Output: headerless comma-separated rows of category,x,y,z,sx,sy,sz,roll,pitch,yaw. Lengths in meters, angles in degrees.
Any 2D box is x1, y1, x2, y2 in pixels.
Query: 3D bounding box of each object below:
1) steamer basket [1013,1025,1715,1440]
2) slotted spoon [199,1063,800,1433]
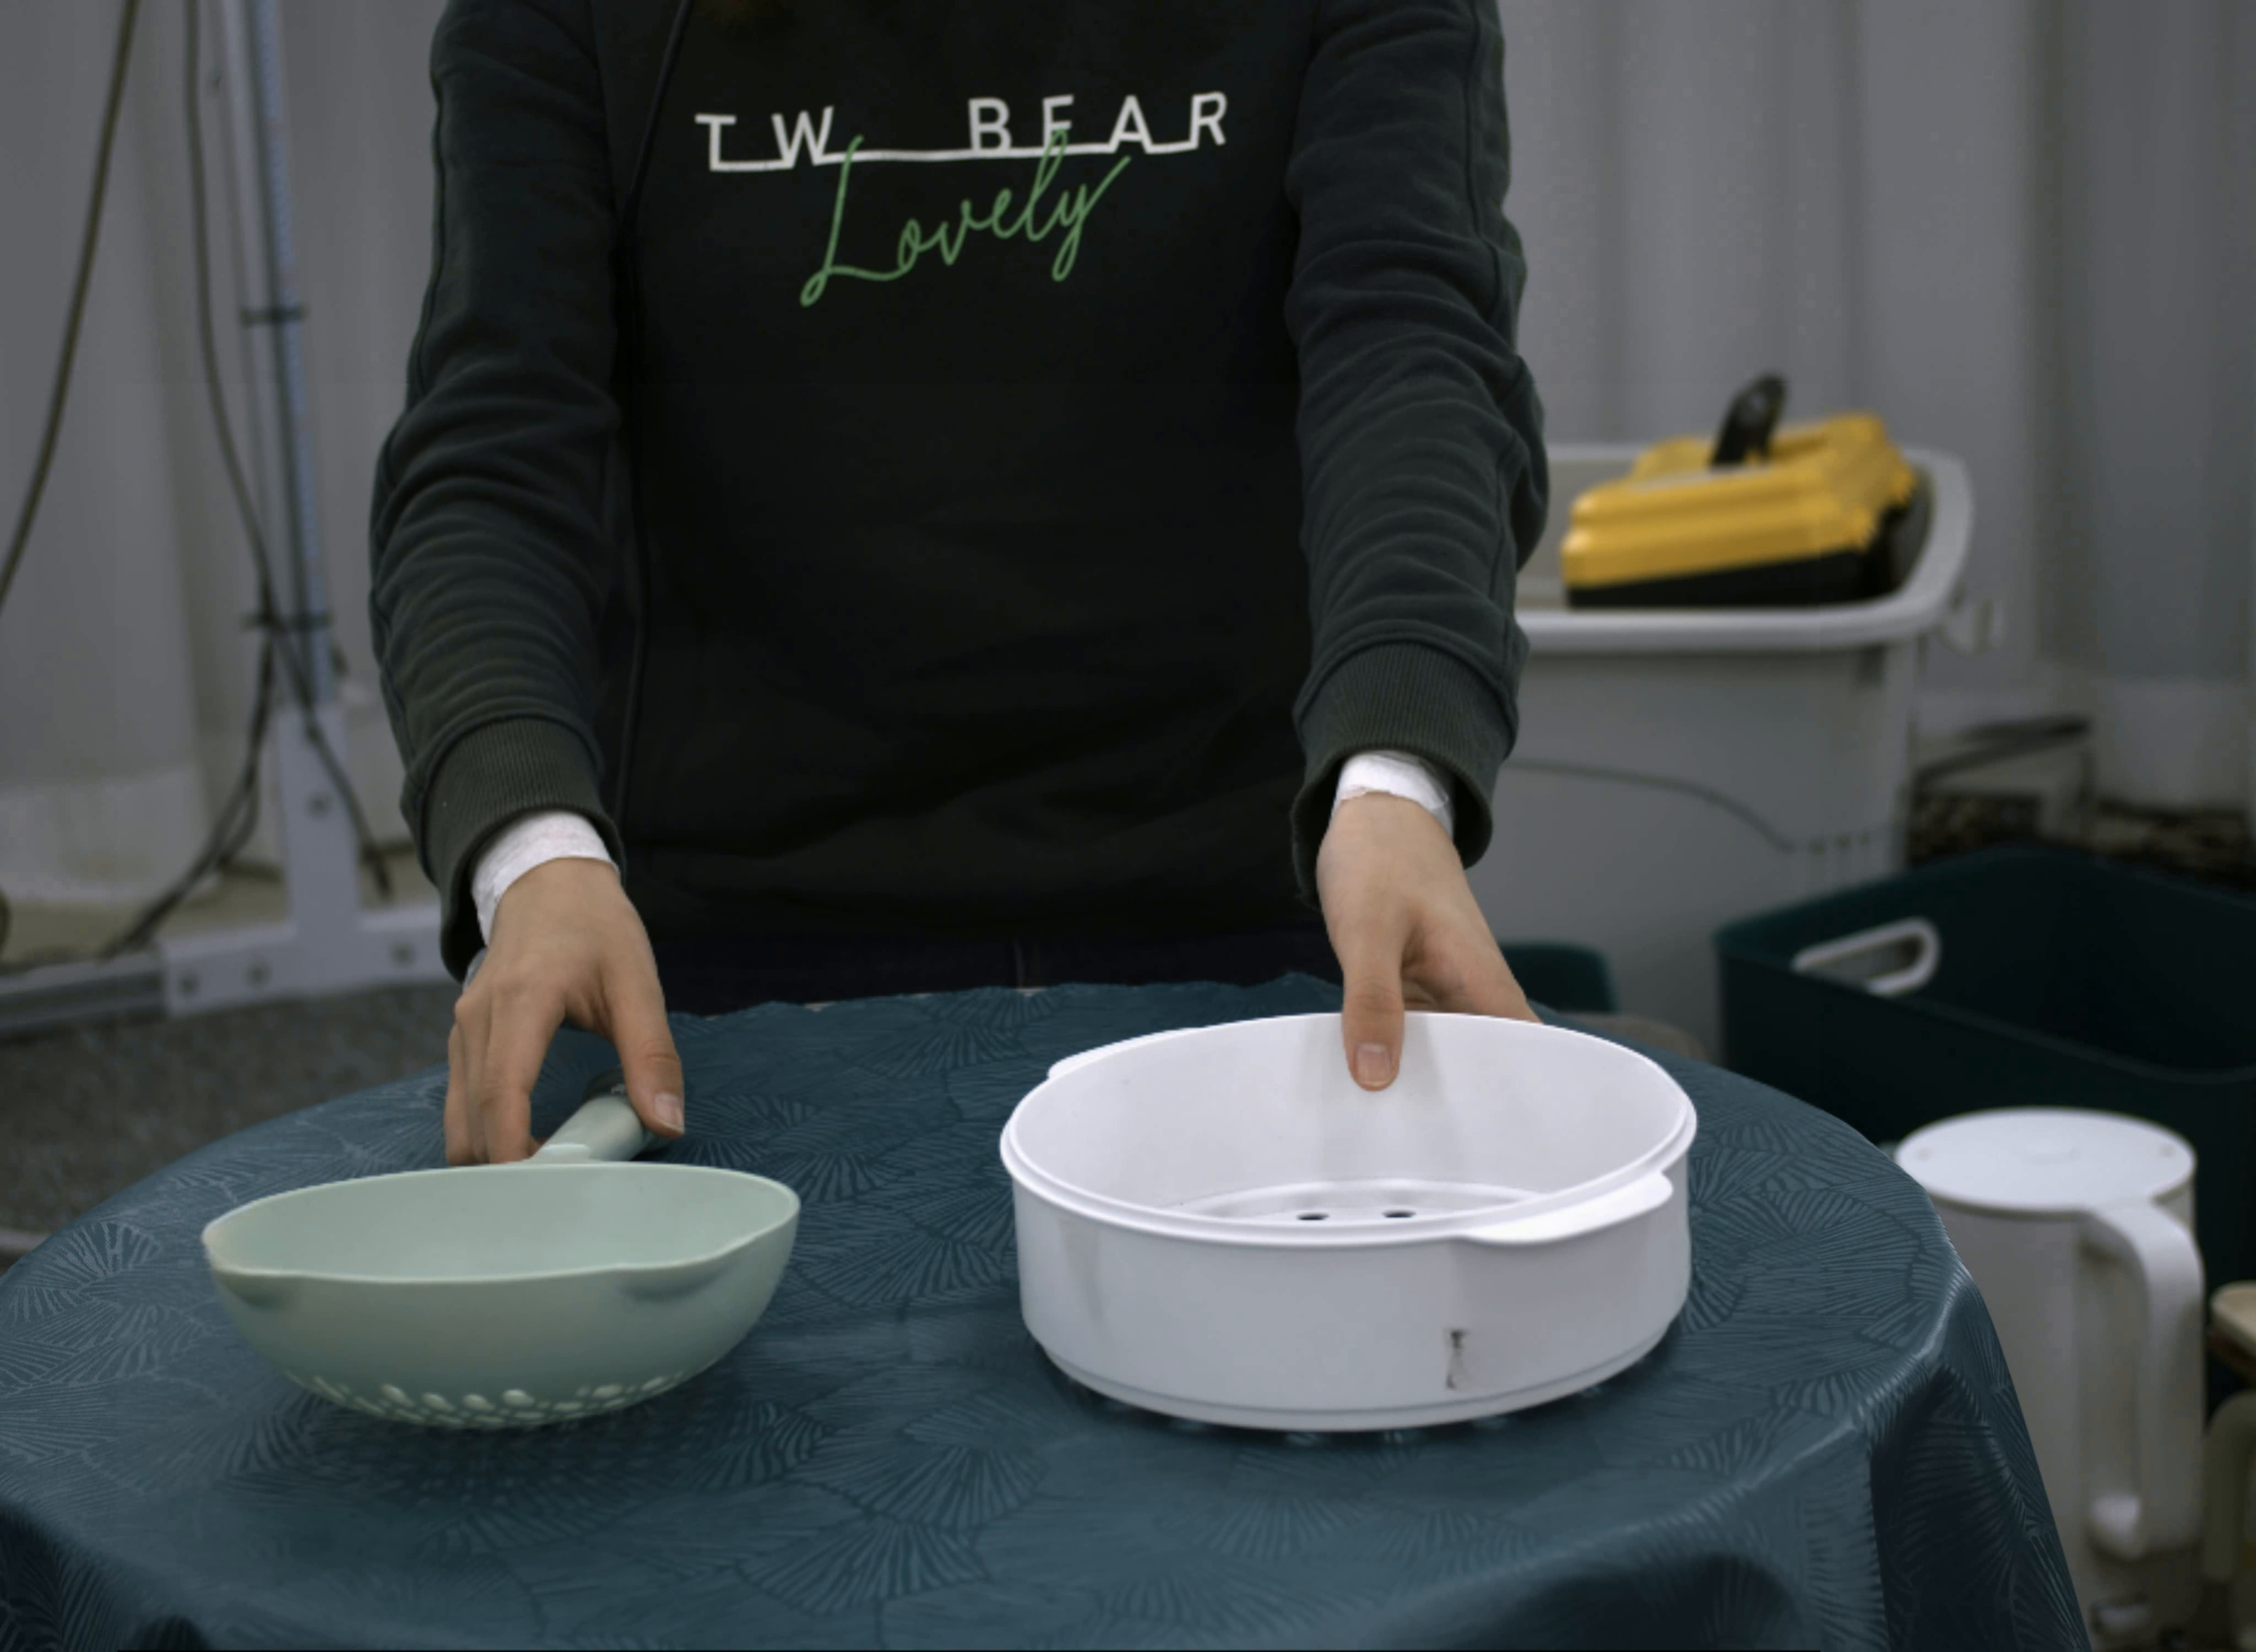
steamer basket,0.068,0.116,1.571,0.201,0.069,0.232,-13,18,-35
slotted spoon,-0.169,0.110,1.638,0.169,0.075,0.361,-1,15,4
